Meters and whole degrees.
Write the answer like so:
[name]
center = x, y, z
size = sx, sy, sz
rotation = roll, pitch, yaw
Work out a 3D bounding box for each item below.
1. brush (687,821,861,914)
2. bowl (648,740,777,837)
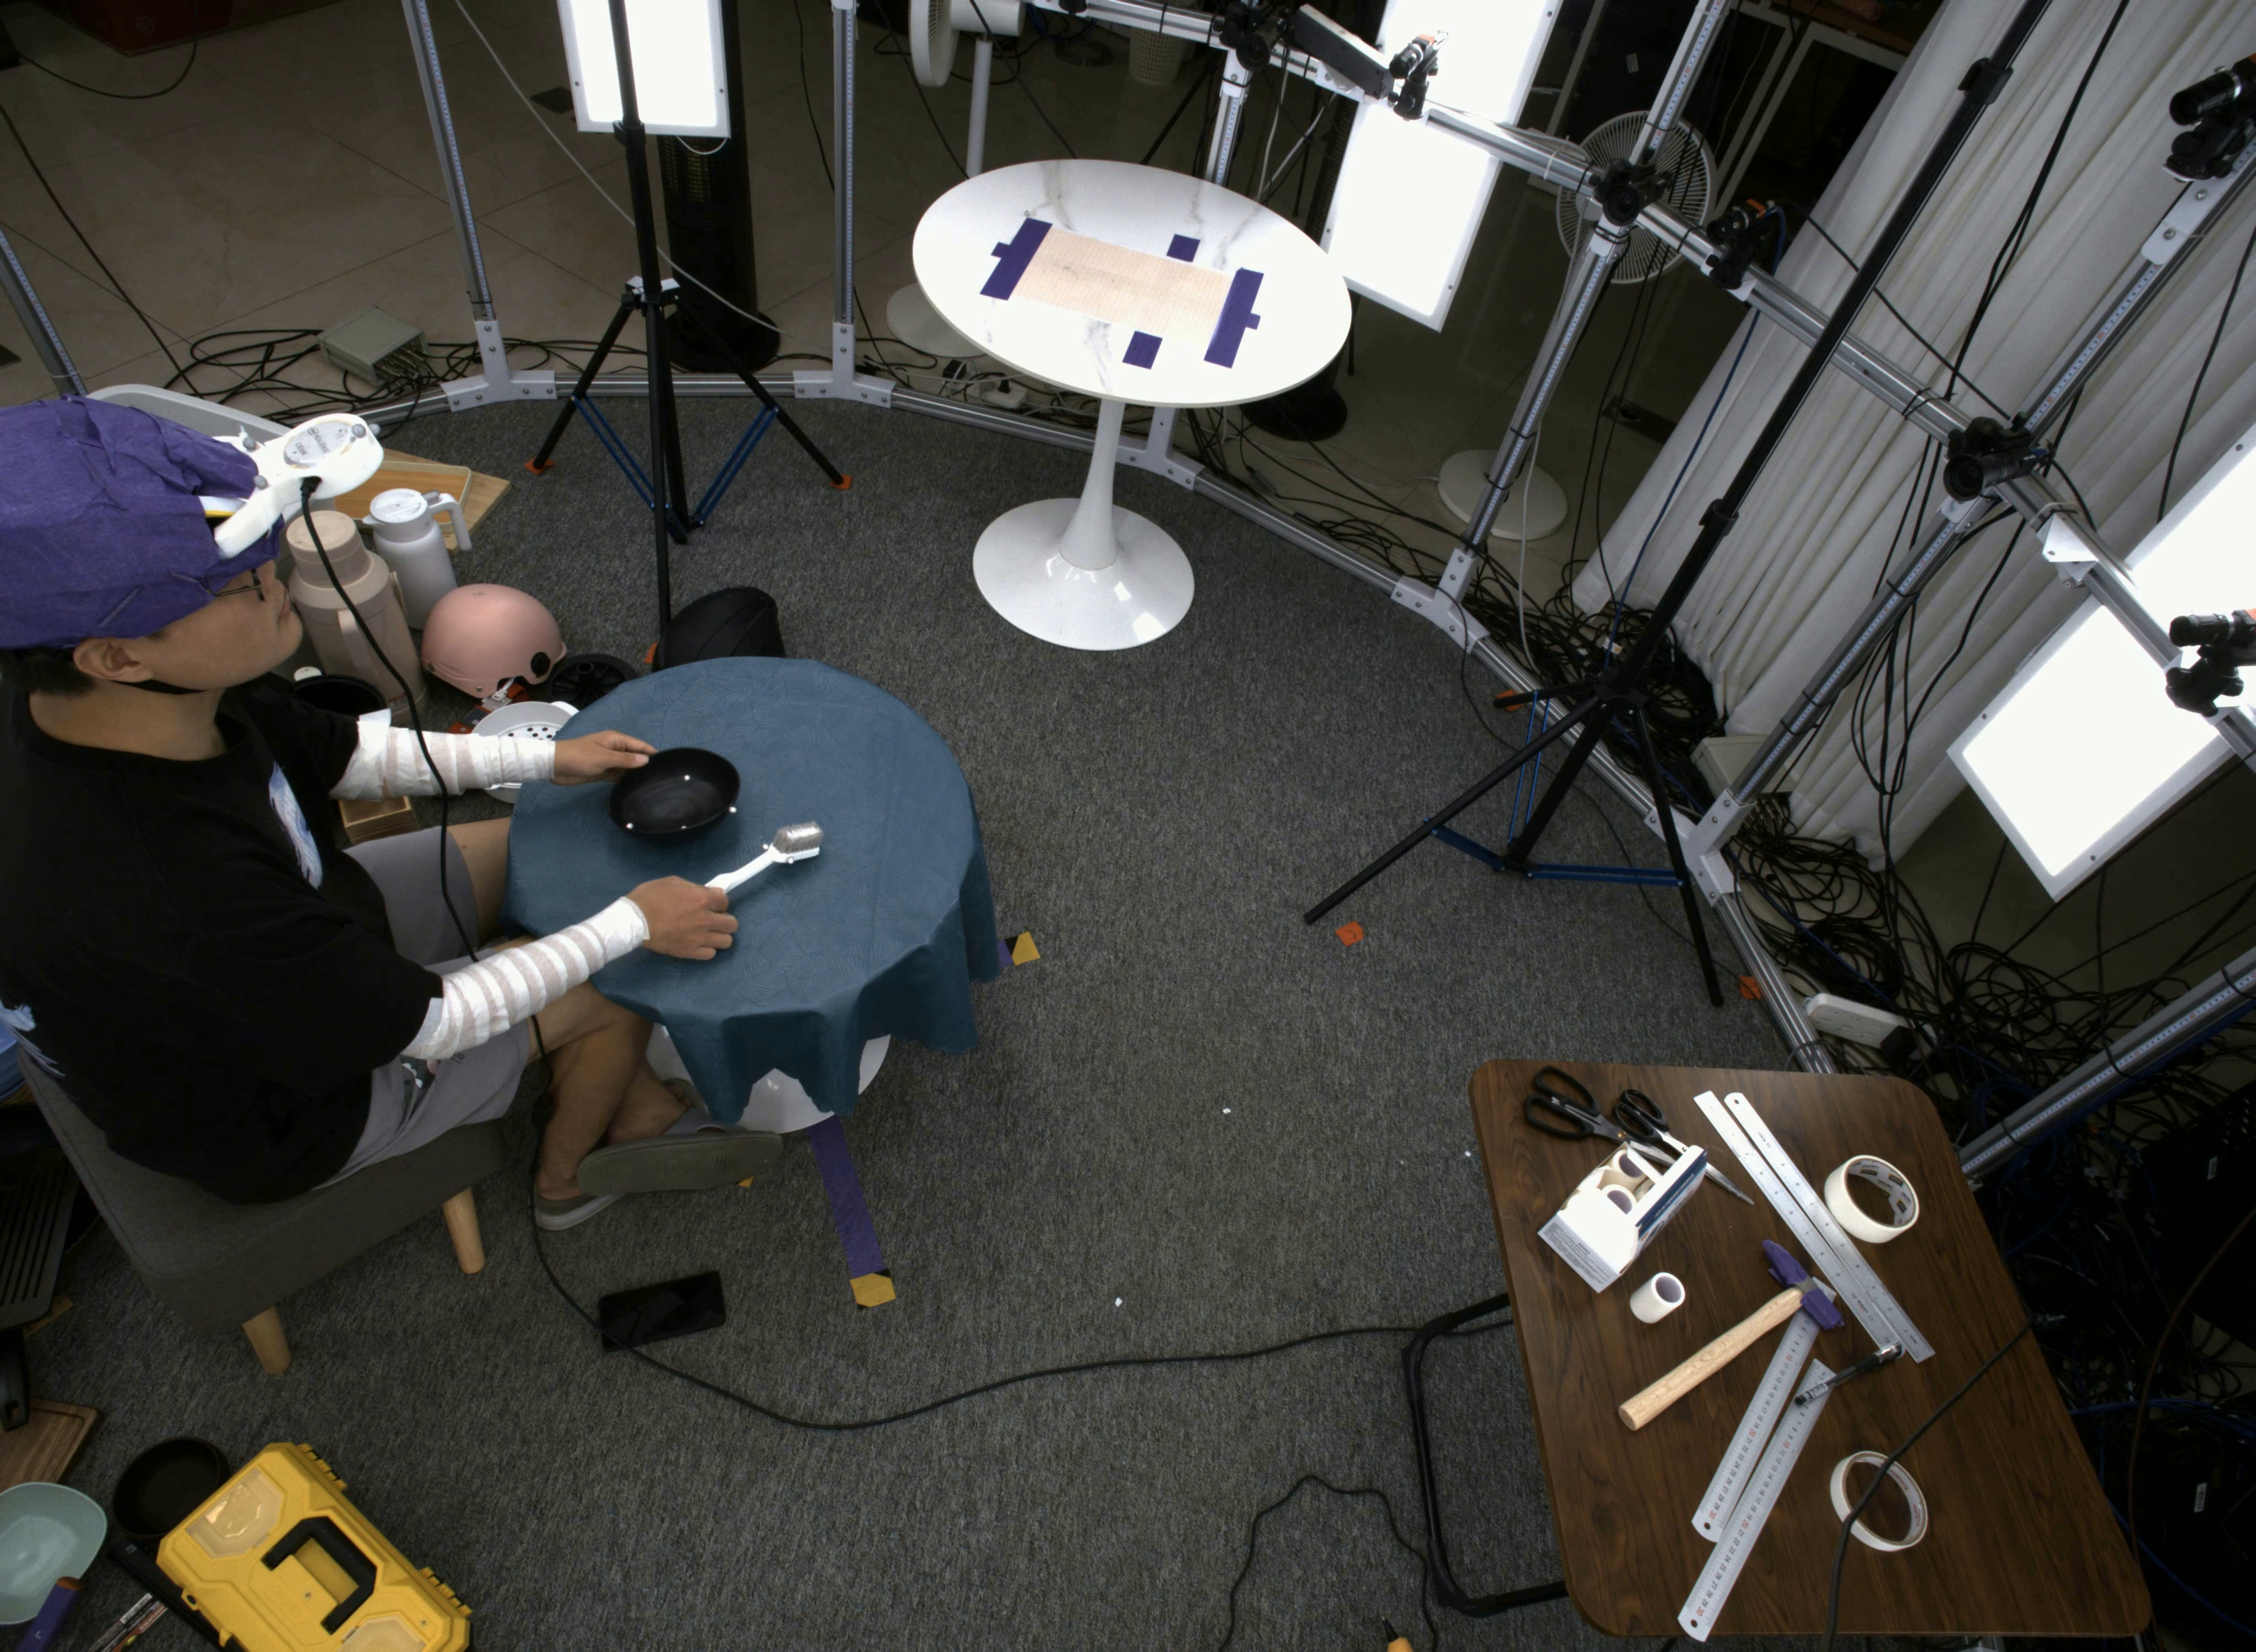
[brush]
center = -0.446, 0.046, 1.637
size = 0.245, 0.051, 0.033
rotation = -24, 57, -38
[bowl]
center = -0.542, -0.037, 1.692
size = 0.171, 0.068, 0.134
rotation = -20, 60, -23
